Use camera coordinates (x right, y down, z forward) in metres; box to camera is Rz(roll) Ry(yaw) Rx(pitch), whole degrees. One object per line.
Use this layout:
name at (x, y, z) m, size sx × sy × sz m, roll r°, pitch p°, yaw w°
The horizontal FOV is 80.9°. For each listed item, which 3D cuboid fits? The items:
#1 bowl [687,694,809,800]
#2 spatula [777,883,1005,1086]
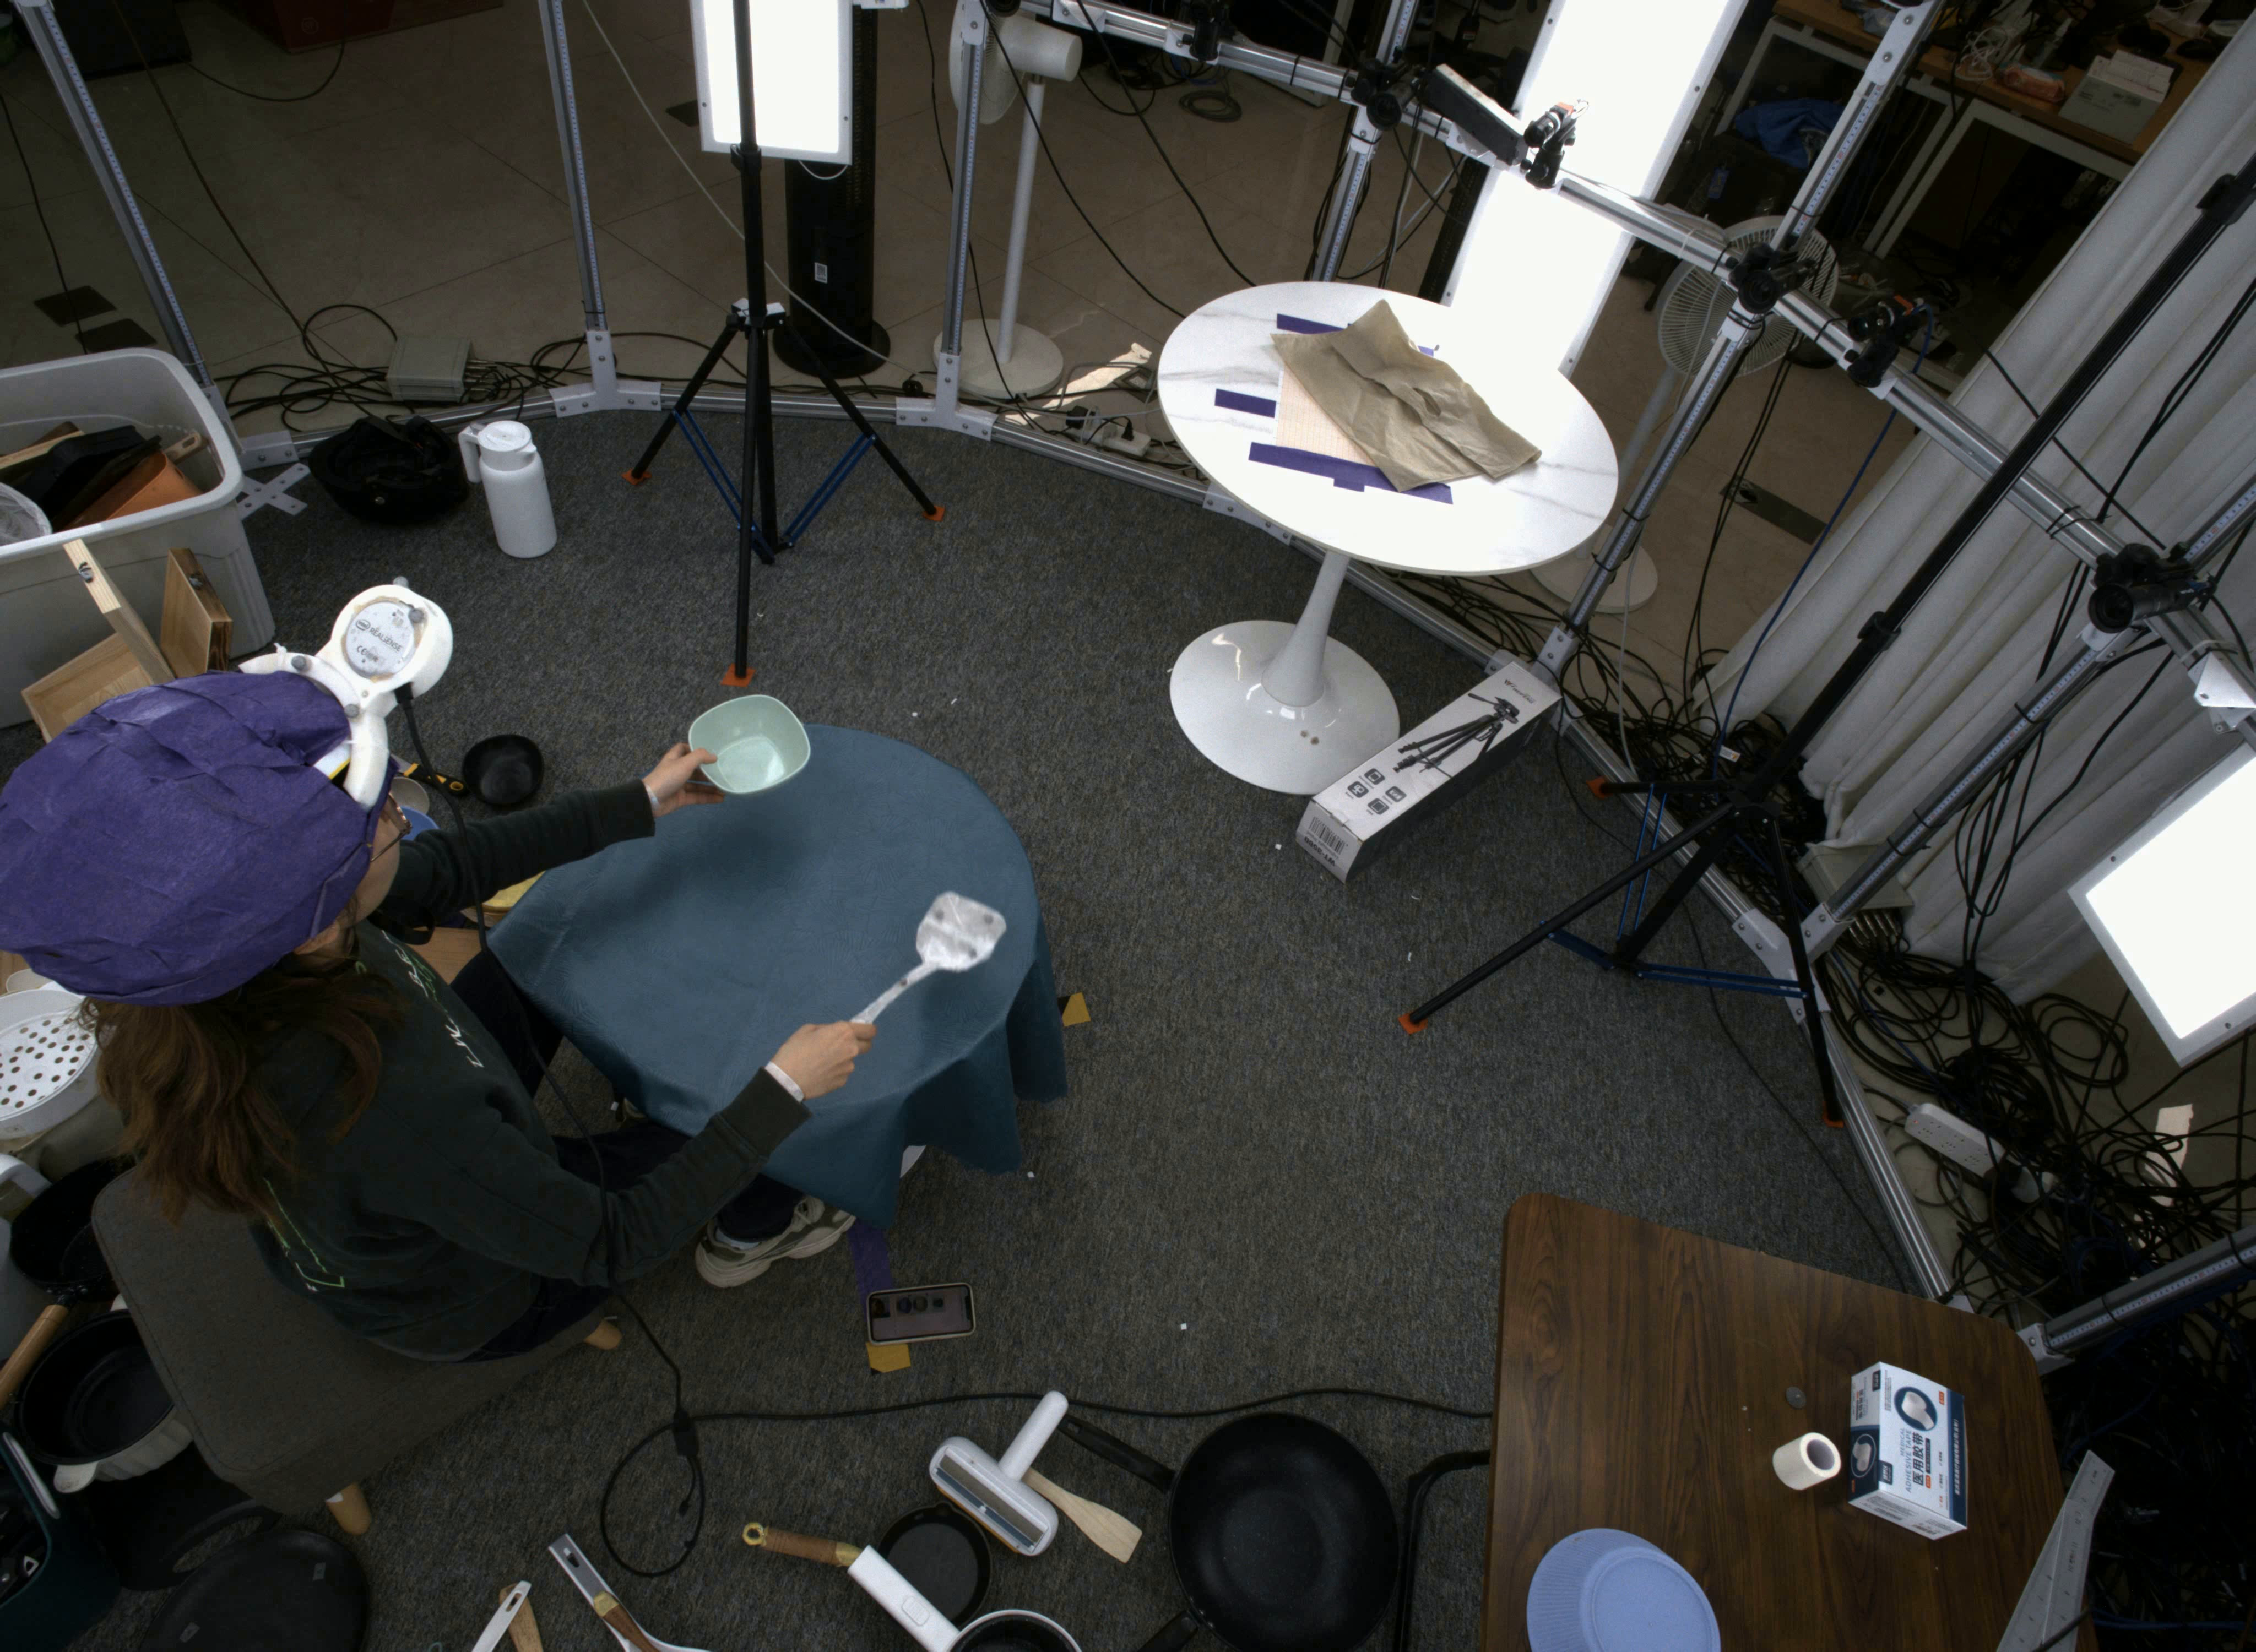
bowl at (-0.476, -0.090, 1.624) m, size 0.151 × 0.059 × 0.149 m, roll 7°, pitch 58°, yaw -9°
spatula at (-0.267, 0.175, 1.461) m, size 0.096 × 0.046 × 0.365 m, roll 26°, pitch 35°, yaw 15°
